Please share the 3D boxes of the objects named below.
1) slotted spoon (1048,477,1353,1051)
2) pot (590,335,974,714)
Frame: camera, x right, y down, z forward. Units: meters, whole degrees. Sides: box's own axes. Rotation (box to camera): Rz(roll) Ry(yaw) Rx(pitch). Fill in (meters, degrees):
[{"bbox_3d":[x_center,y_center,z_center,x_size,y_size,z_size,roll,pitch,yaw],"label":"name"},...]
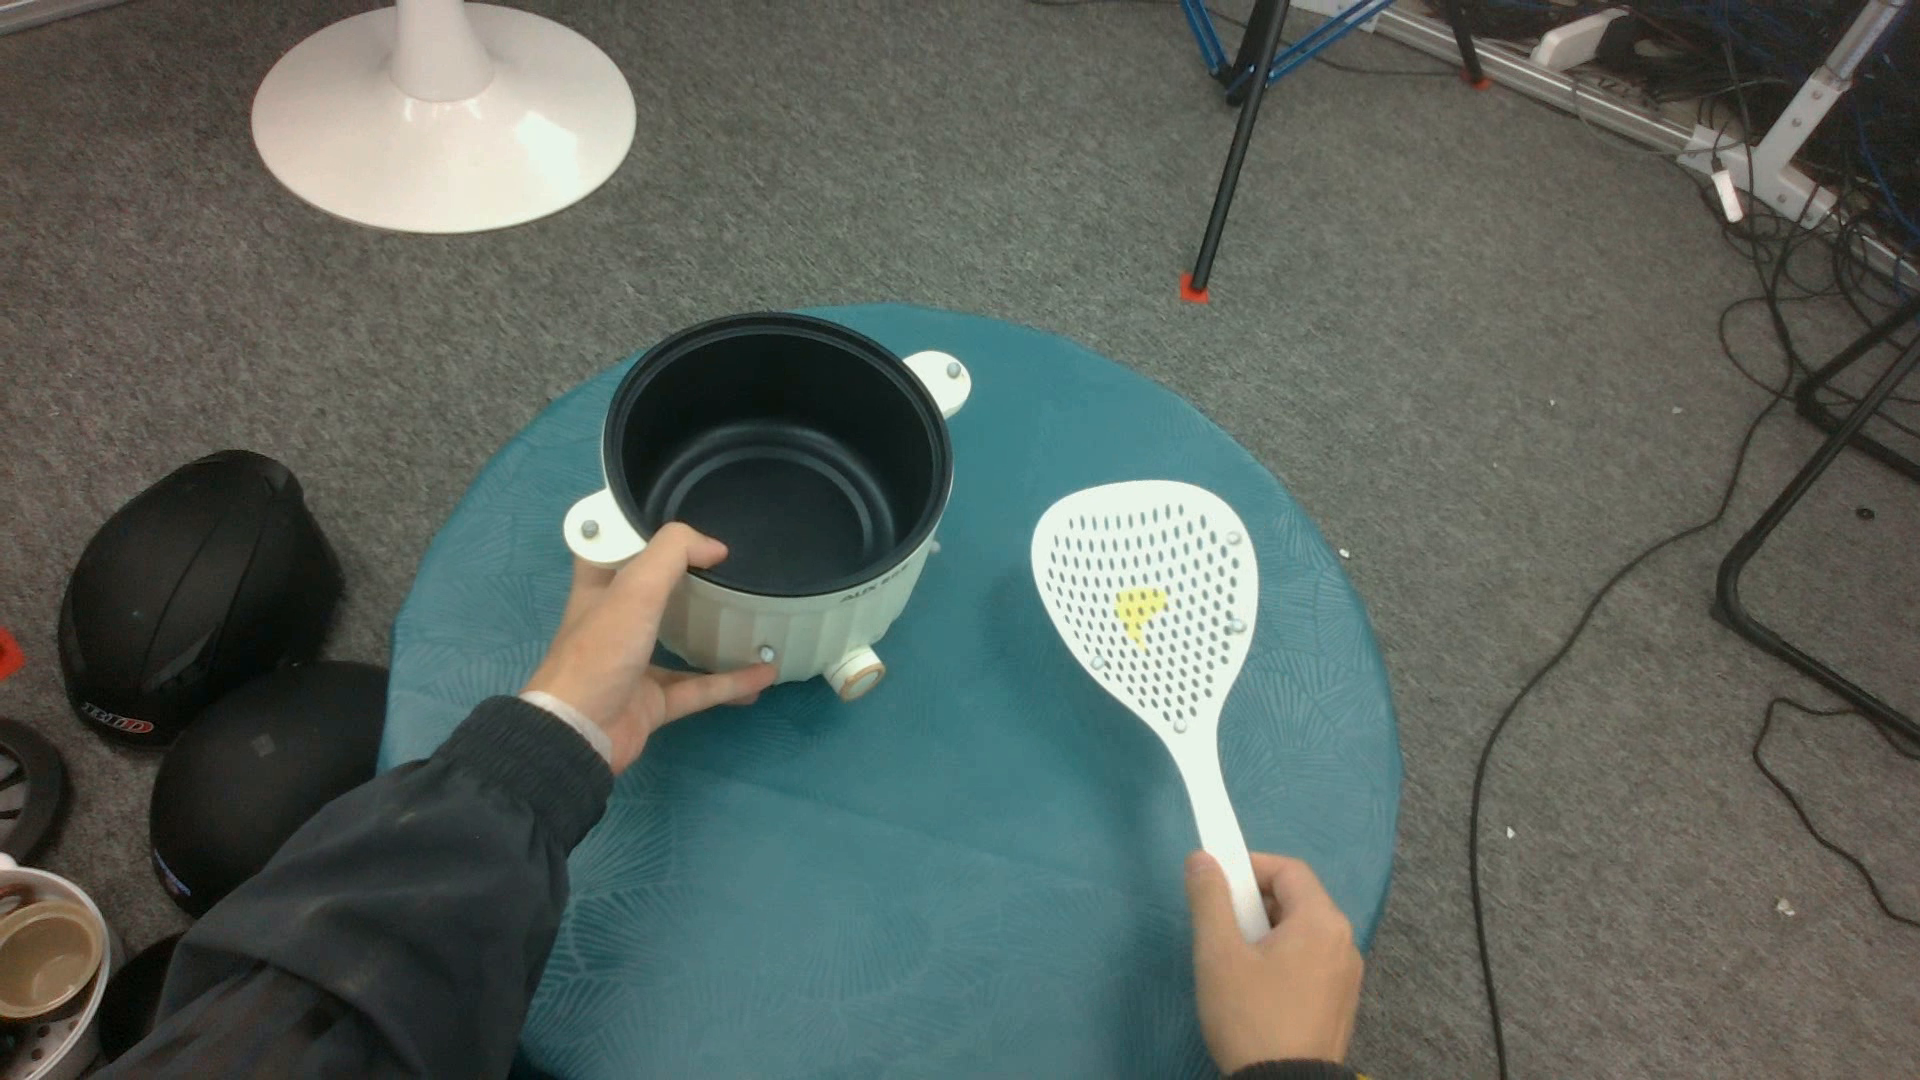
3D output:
[{"bbox_3d":[0.145,0.109,0.775,0.137,0.050,0.349,-11,51,-5],"label":"slotted spoon"},{"bbox_3d":[-0.092,0.000,0.784,0.241,0.142,0.191,-31,64,-26],"label":"pot"}]
